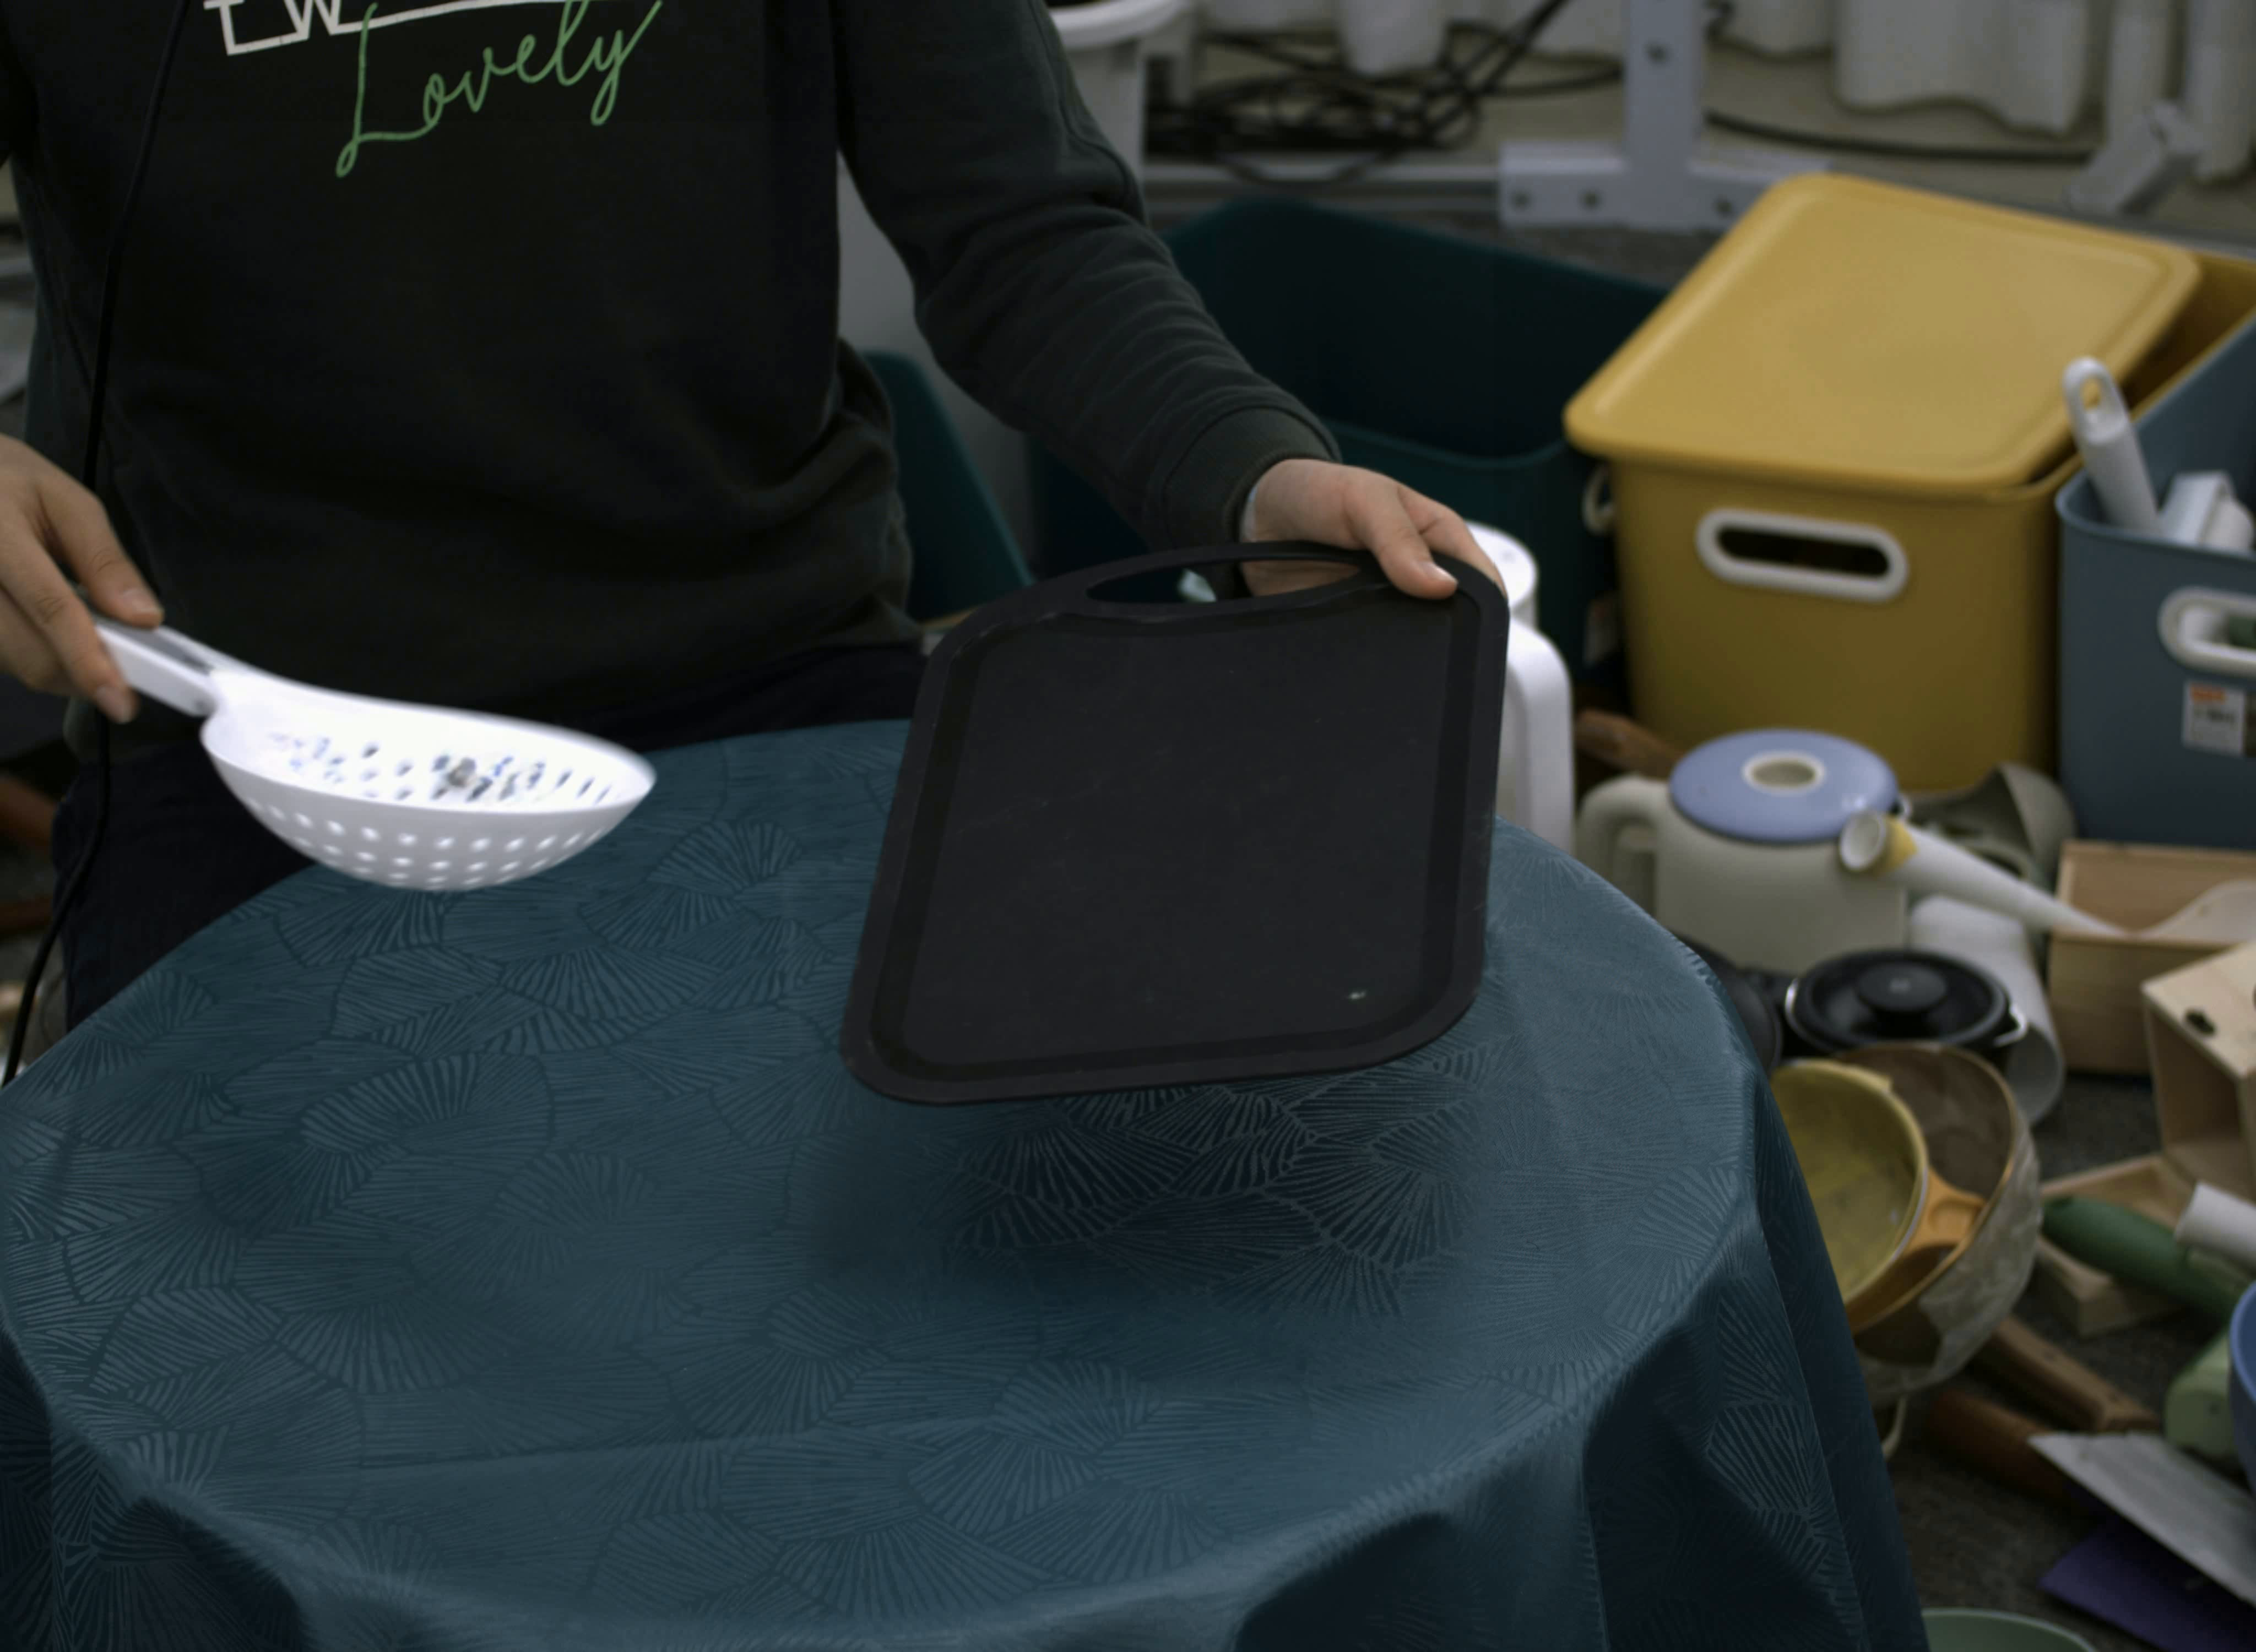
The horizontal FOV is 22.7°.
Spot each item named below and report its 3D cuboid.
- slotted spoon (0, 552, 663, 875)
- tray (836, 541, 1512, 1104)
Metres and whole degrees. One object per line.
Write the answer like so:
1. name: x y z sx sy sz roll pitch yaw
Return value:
1. slotted spoon: -0.277 -0.044 1.795 0.137 0.045 0.350 -4 21 -39
2. tray: 0.020 -0.010 1.891 0.209 0.009 0.331 -5 33 10
